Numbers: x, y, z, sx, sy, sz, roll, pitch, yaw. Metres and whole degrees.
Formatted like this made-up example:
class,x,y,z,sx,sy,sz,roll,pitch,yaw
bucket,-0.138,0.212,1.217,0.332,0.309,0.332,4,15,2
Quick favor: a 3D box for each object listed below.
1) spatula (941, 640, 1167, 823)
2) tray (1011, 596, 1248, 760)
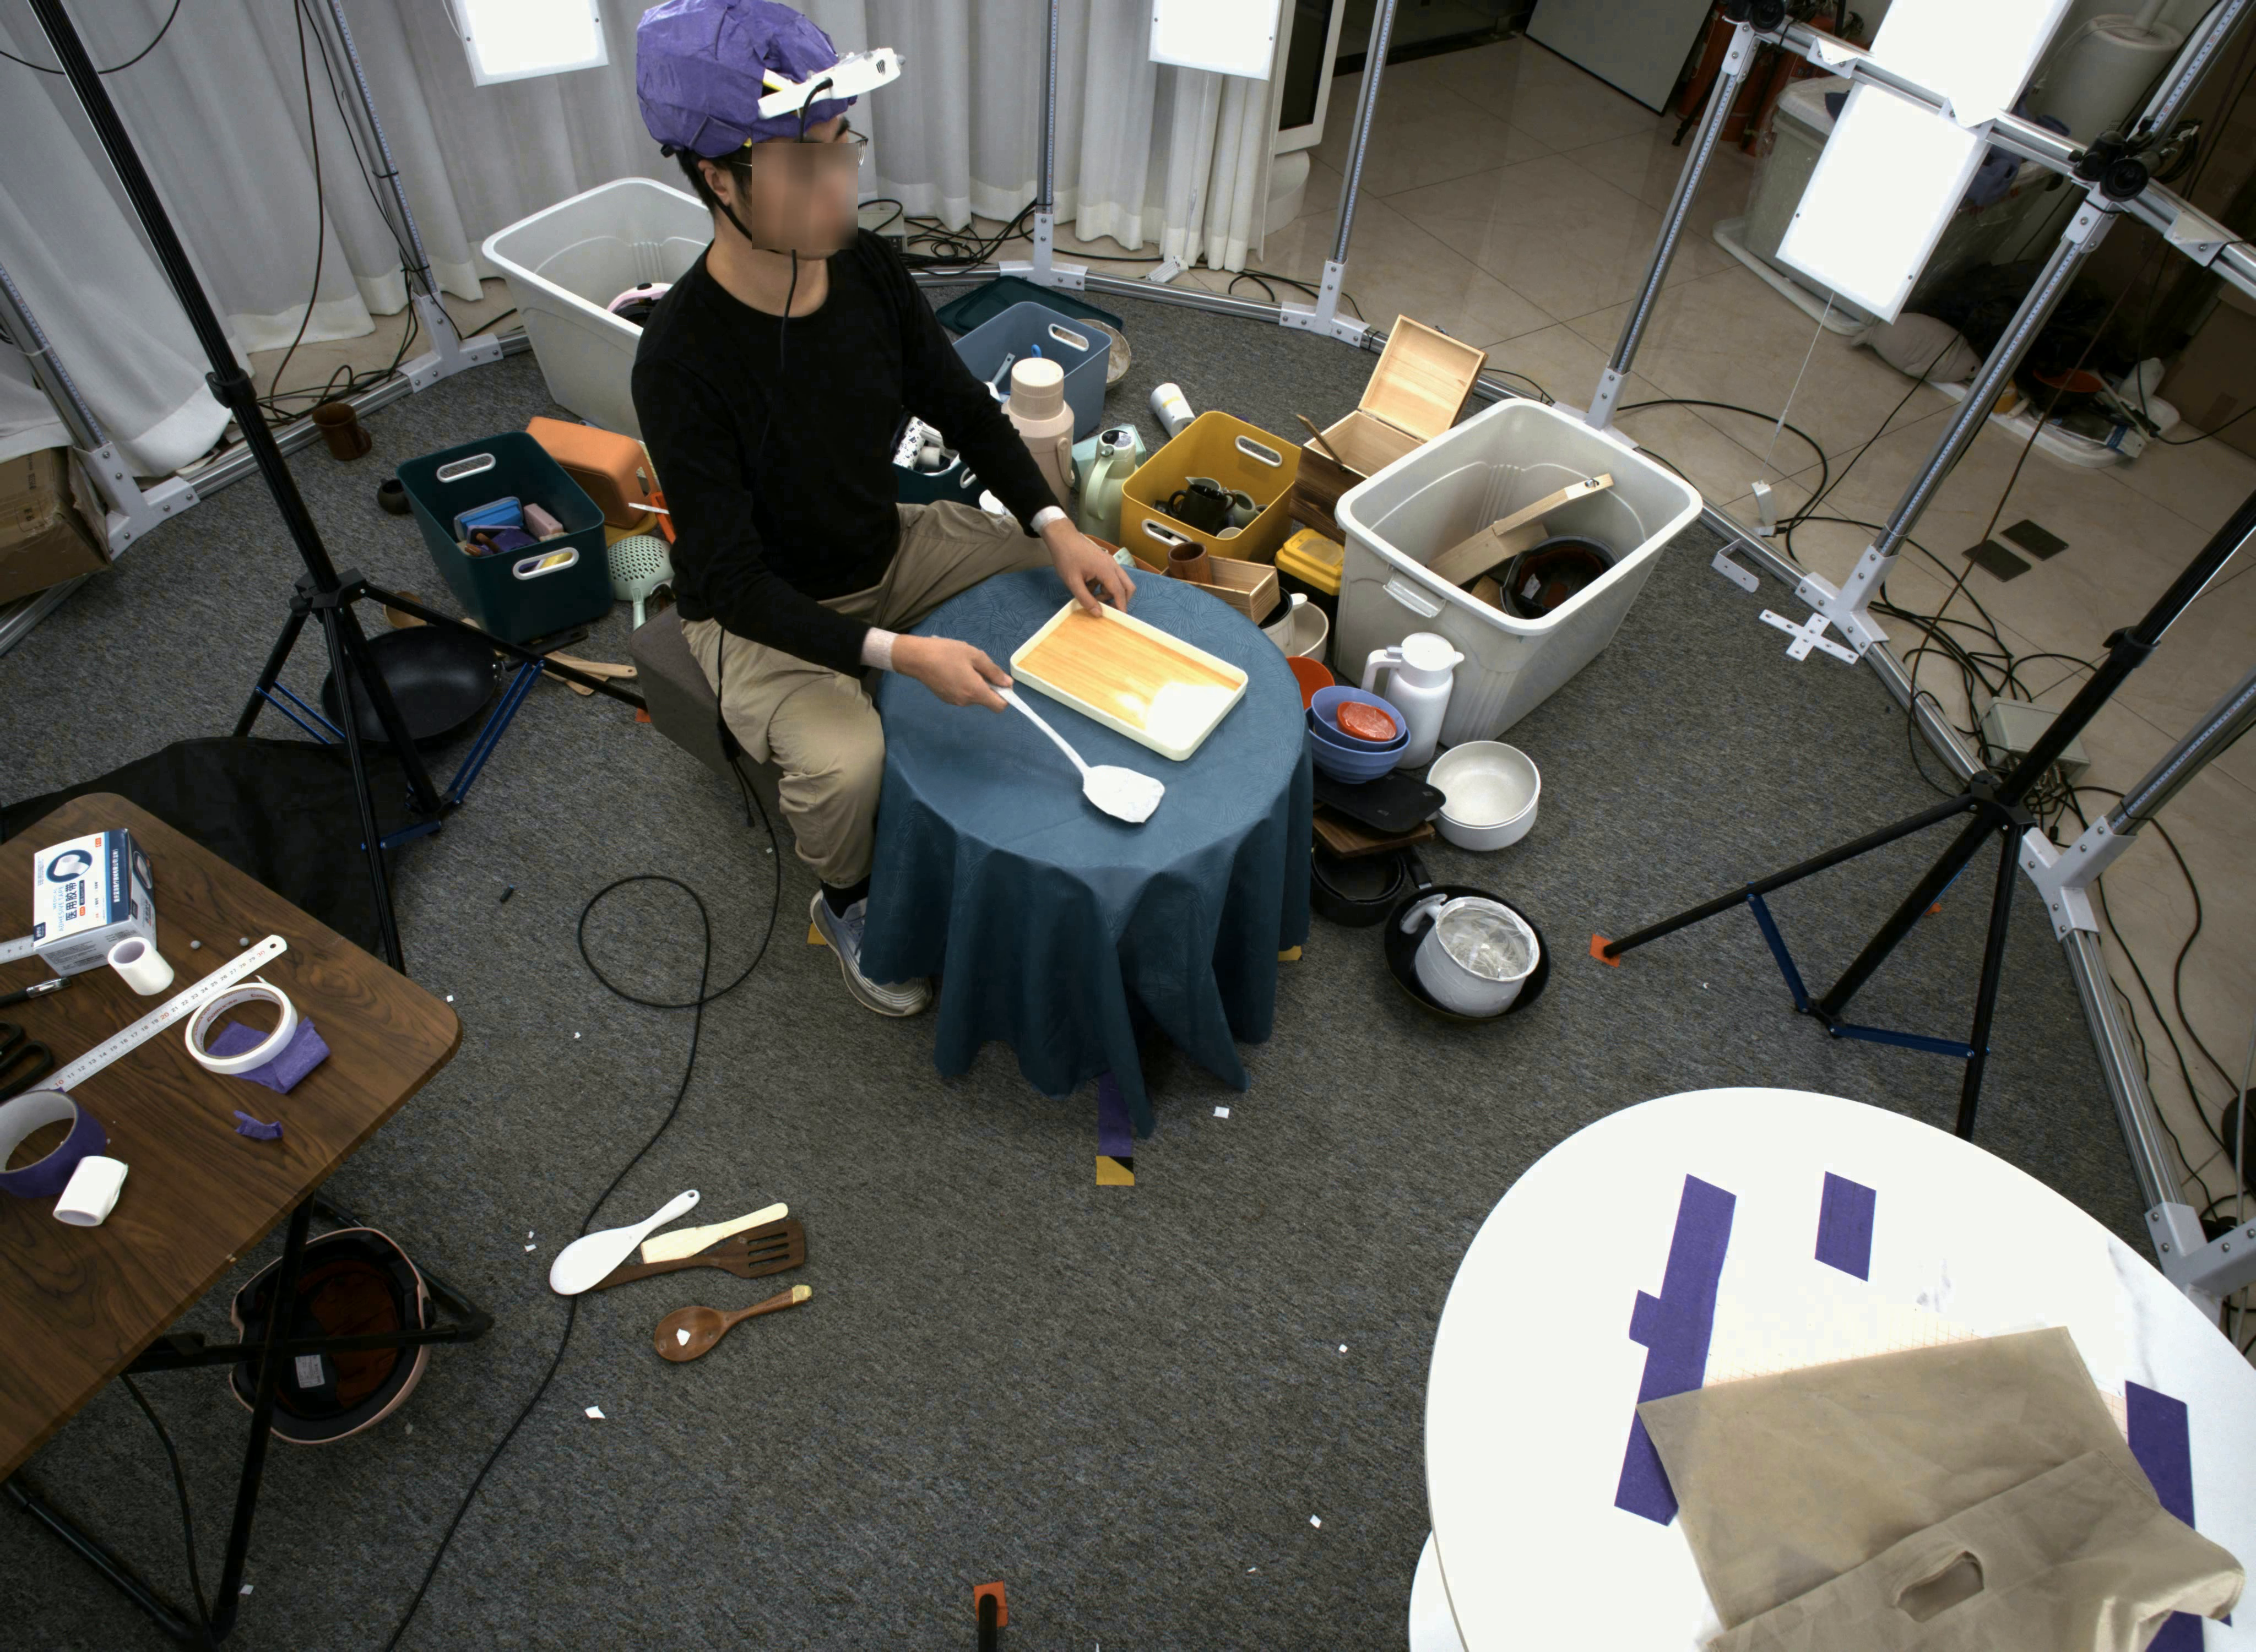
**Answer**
class,x,y,z,sx,sy,sz,roll,pitch,yaw
spatula,-0.105,-0.132,1.693,0.364,0.044,0.100,41,46,-1
tray,0.001,-0.218,1.841,0.303,0.027,0.194,29,53,20
